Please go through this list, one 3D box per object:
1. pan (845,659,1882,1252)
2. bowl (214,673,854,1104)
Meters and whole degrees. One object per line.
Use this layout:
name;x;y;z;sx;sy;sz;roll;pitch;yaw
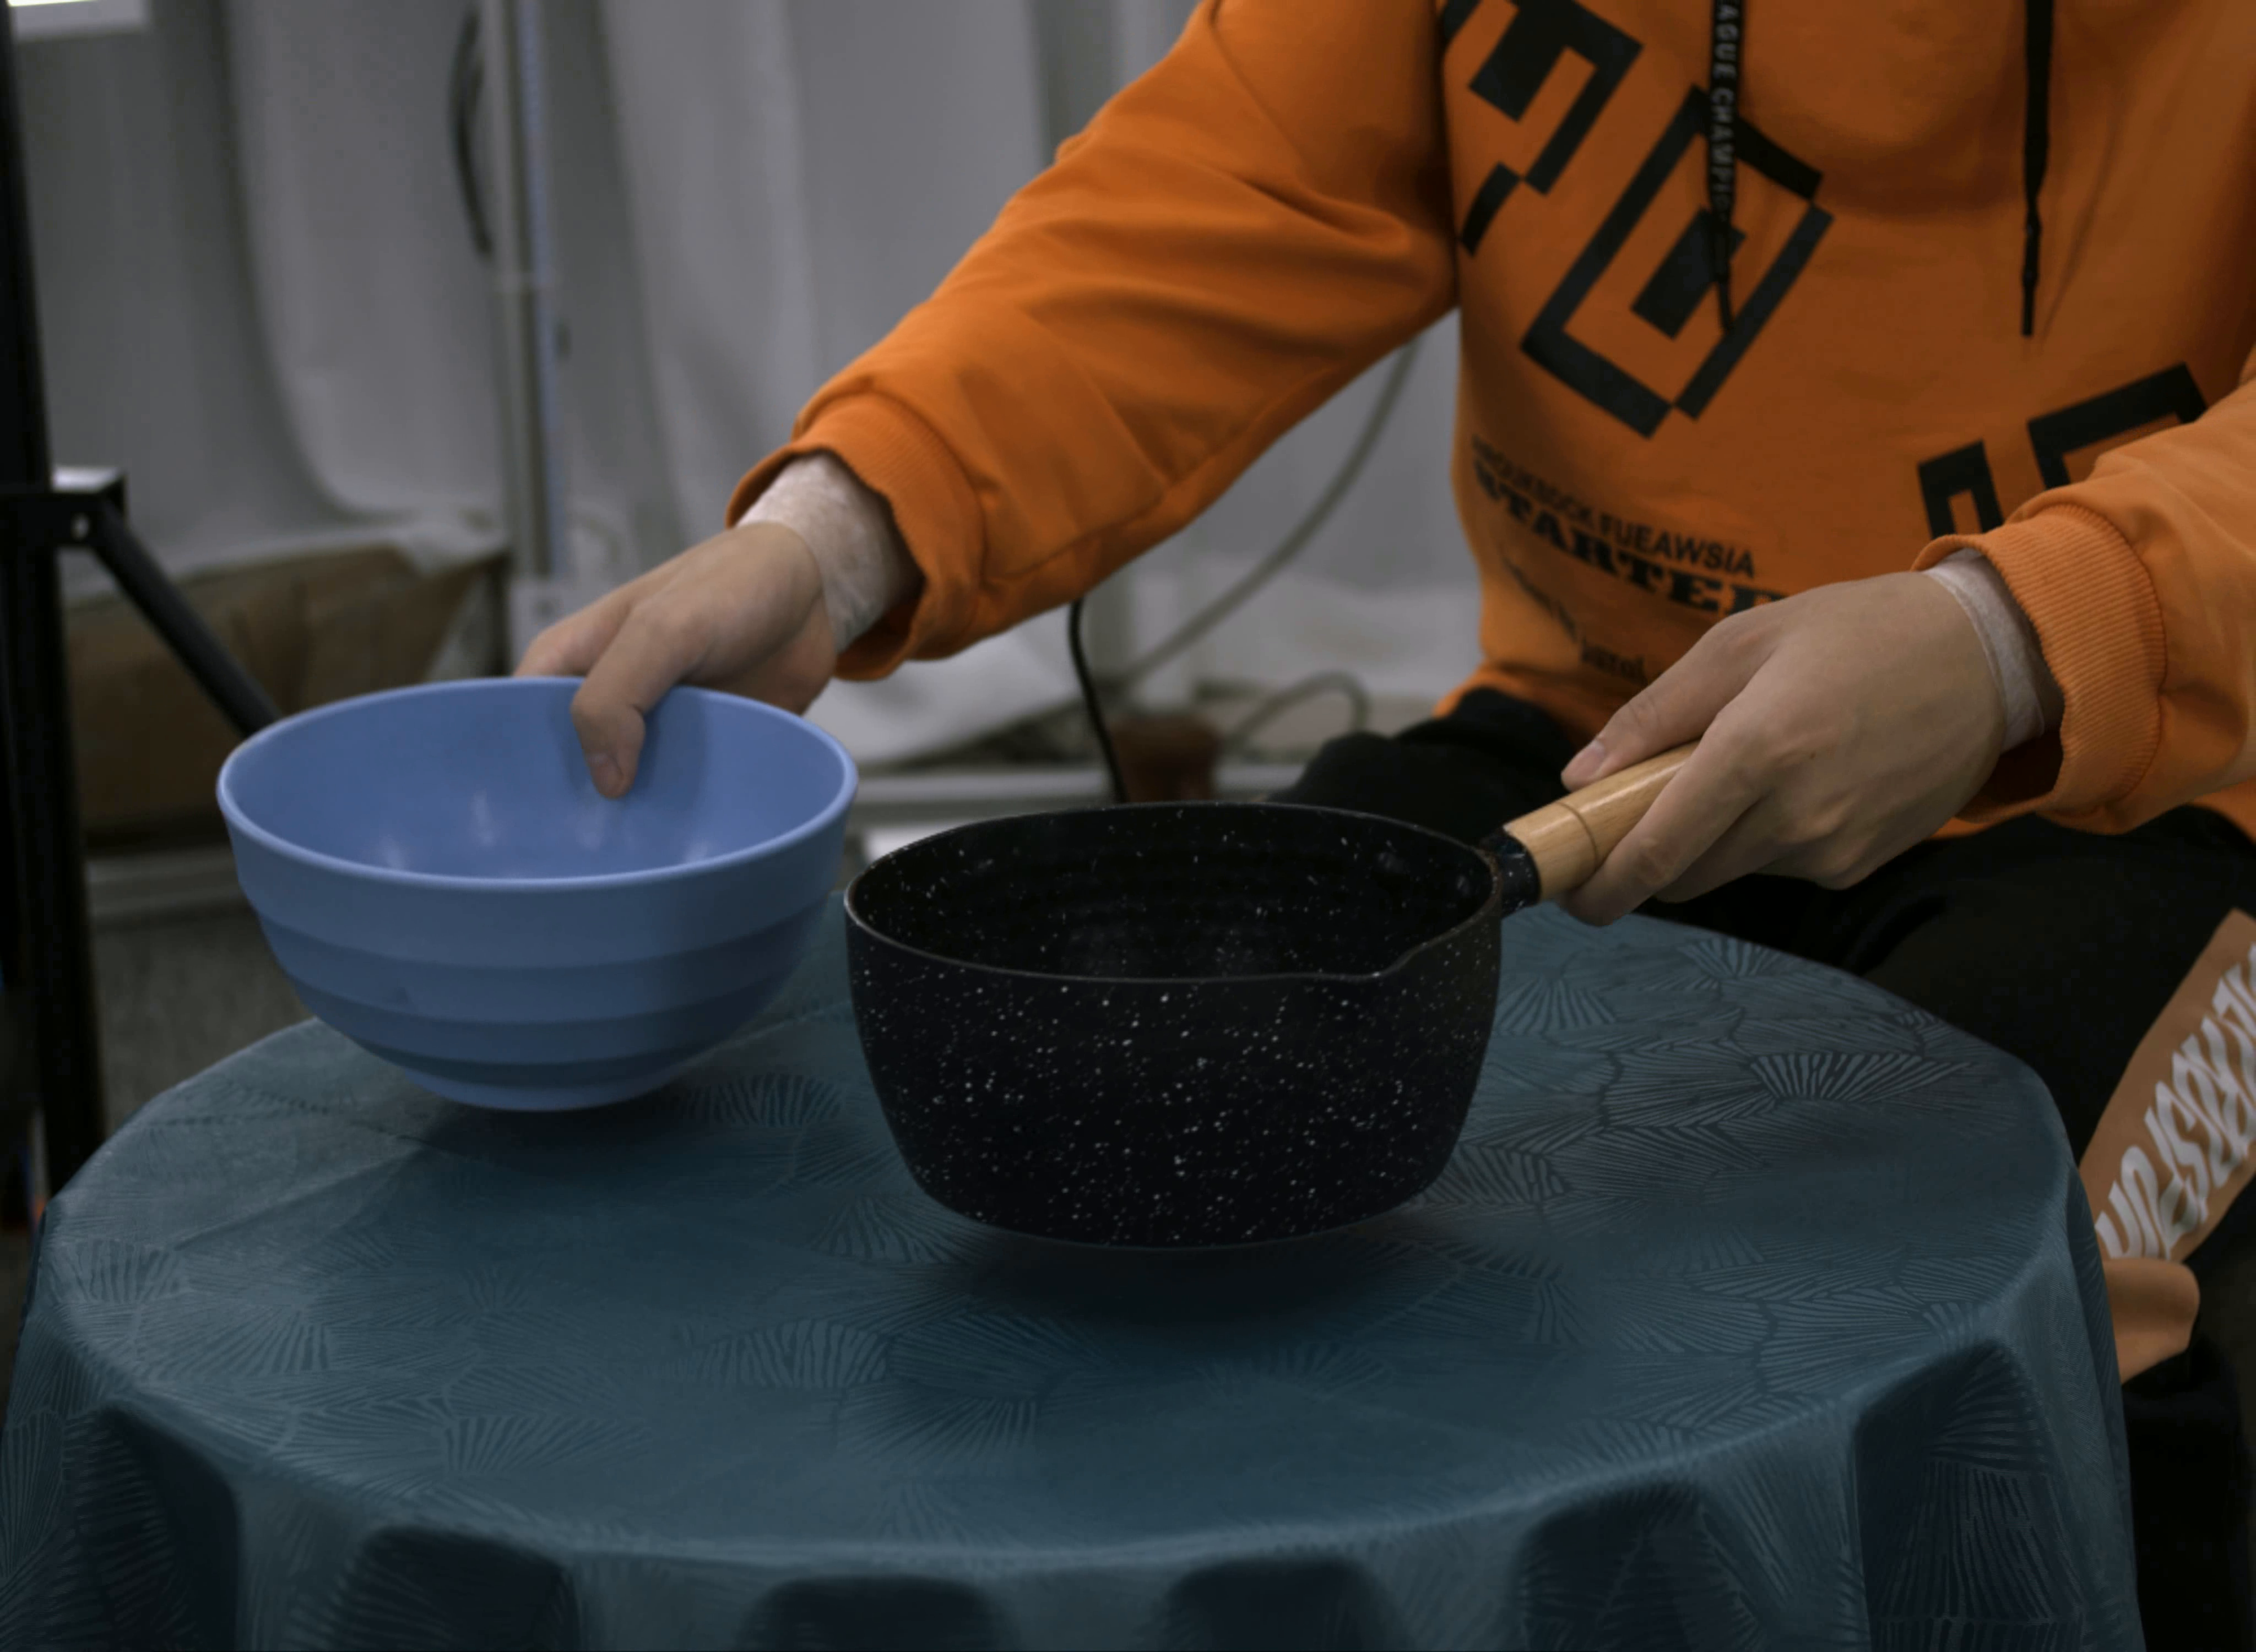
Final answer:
pan;0.080;0.032;1.528;0.335;0.108;0.212;-12;17;-30
bowl;-0.182;0.026;1.654;0.195;0.095;0.198;0;19;-1
